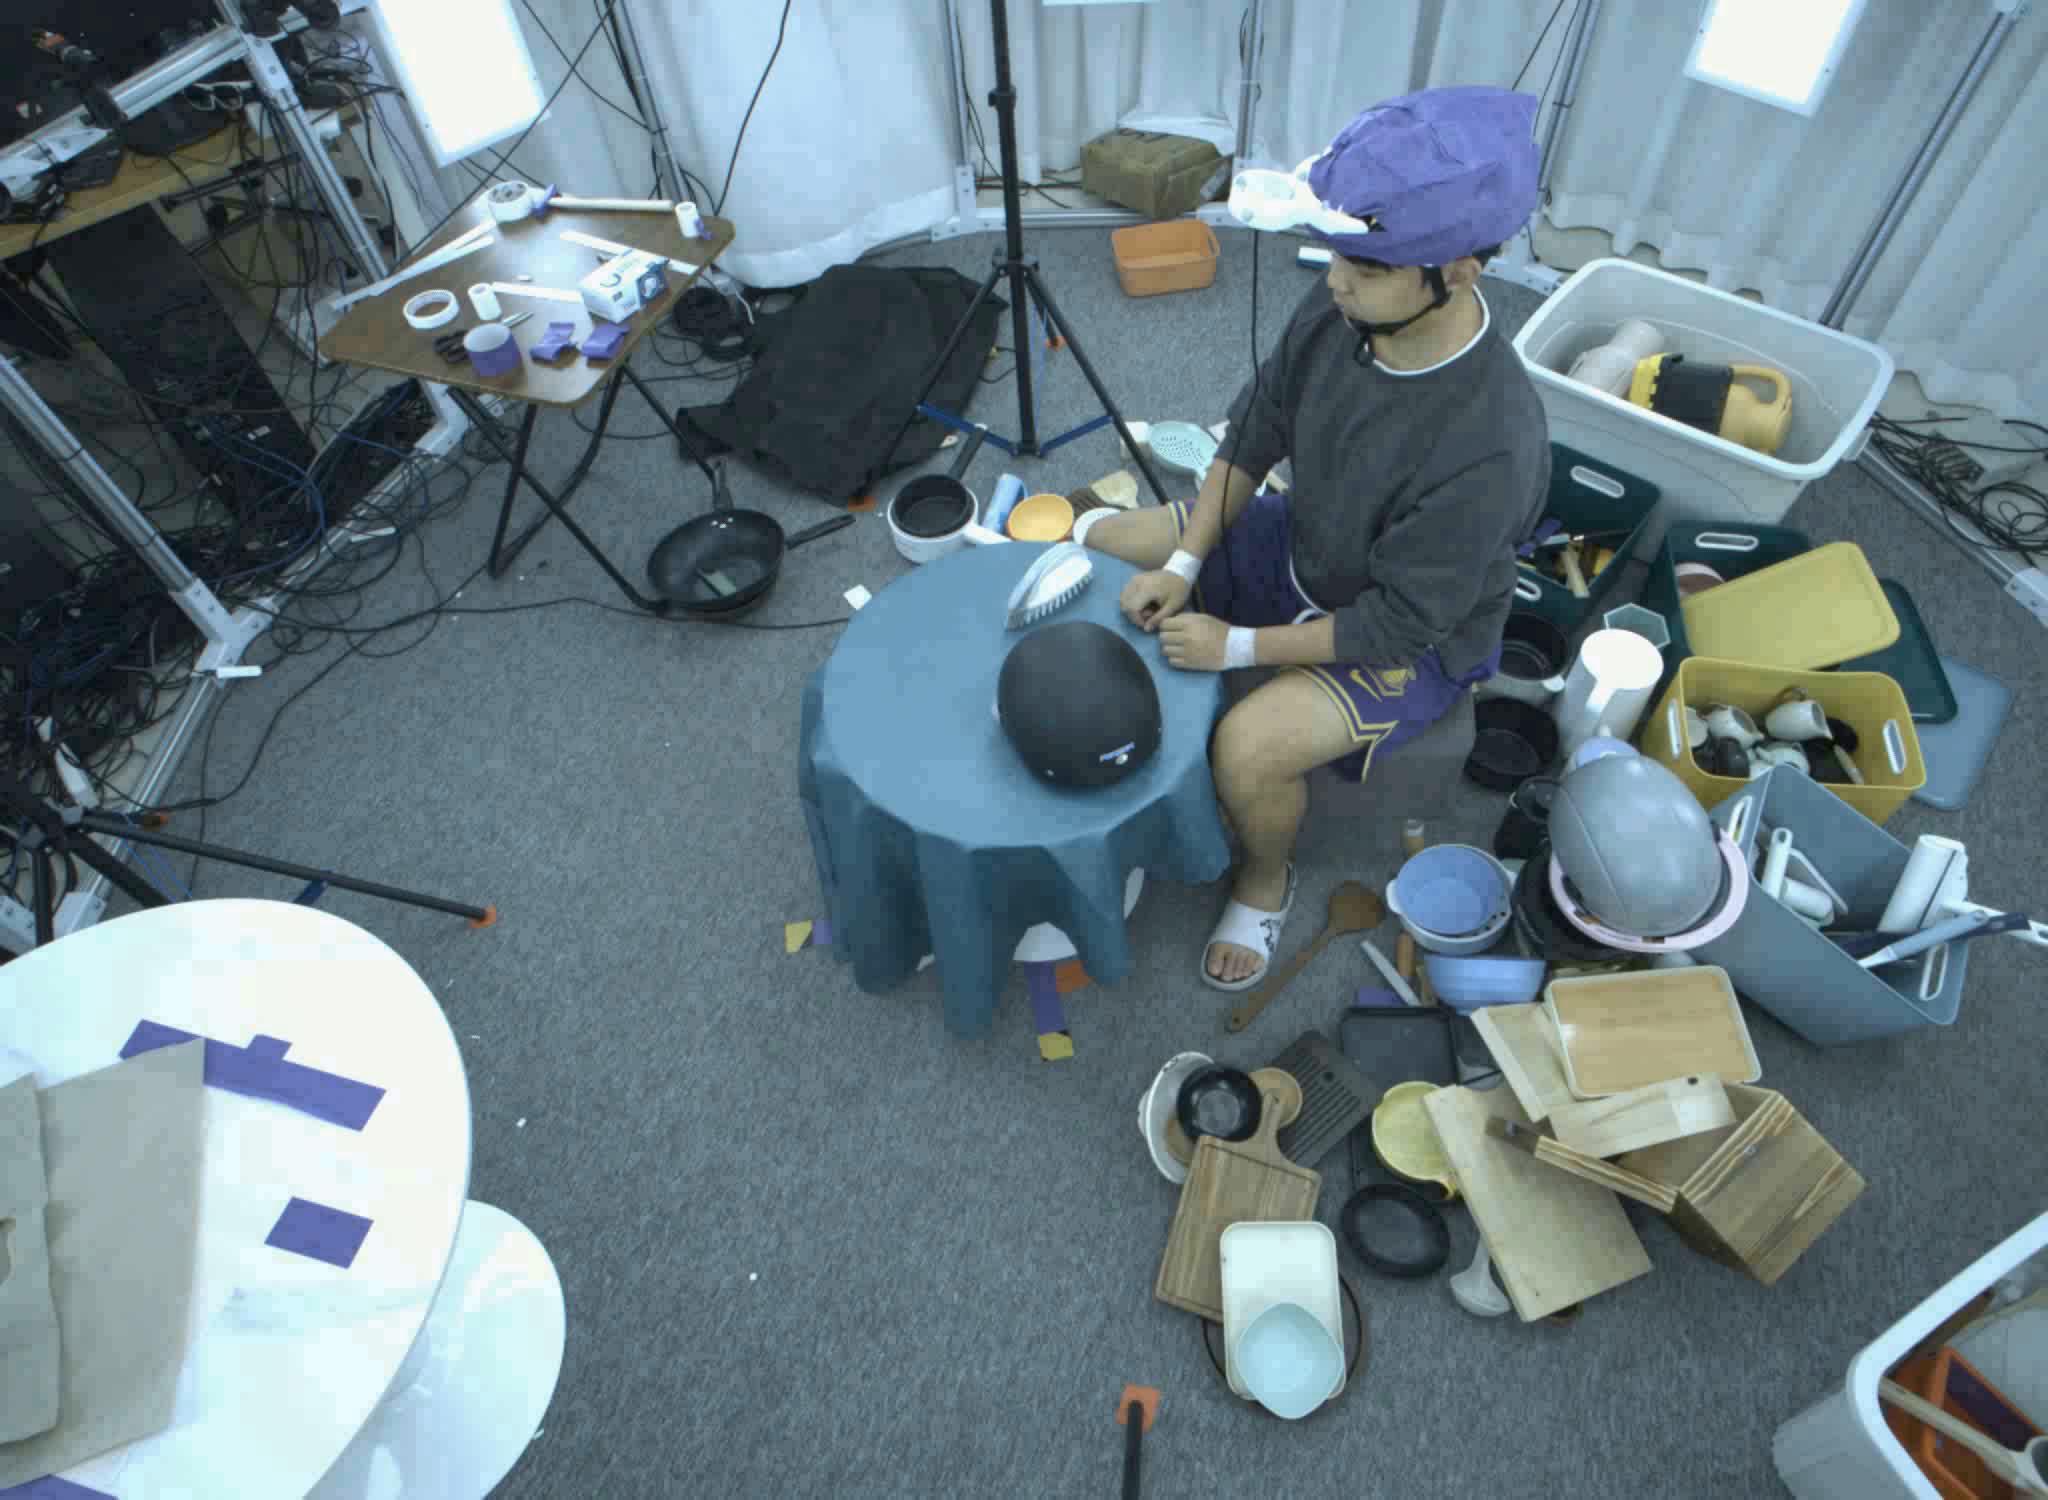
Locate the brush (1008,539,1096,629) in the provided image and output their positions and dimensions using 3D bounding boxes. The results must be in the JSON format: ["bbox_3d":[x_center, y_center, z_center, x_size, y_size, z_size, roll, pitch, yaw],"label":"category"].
[{"bbox_3d":[0.034,-0.265,1.922,0.176,0.095,0.060,-40,60,-21],"label":"brush"}]

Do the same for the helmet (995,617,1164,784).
[{"bbox_3d":[0.076,-0.091,1.754,0.232,0.168,0.268,-20,54,-12],"label":"helmet"}]
